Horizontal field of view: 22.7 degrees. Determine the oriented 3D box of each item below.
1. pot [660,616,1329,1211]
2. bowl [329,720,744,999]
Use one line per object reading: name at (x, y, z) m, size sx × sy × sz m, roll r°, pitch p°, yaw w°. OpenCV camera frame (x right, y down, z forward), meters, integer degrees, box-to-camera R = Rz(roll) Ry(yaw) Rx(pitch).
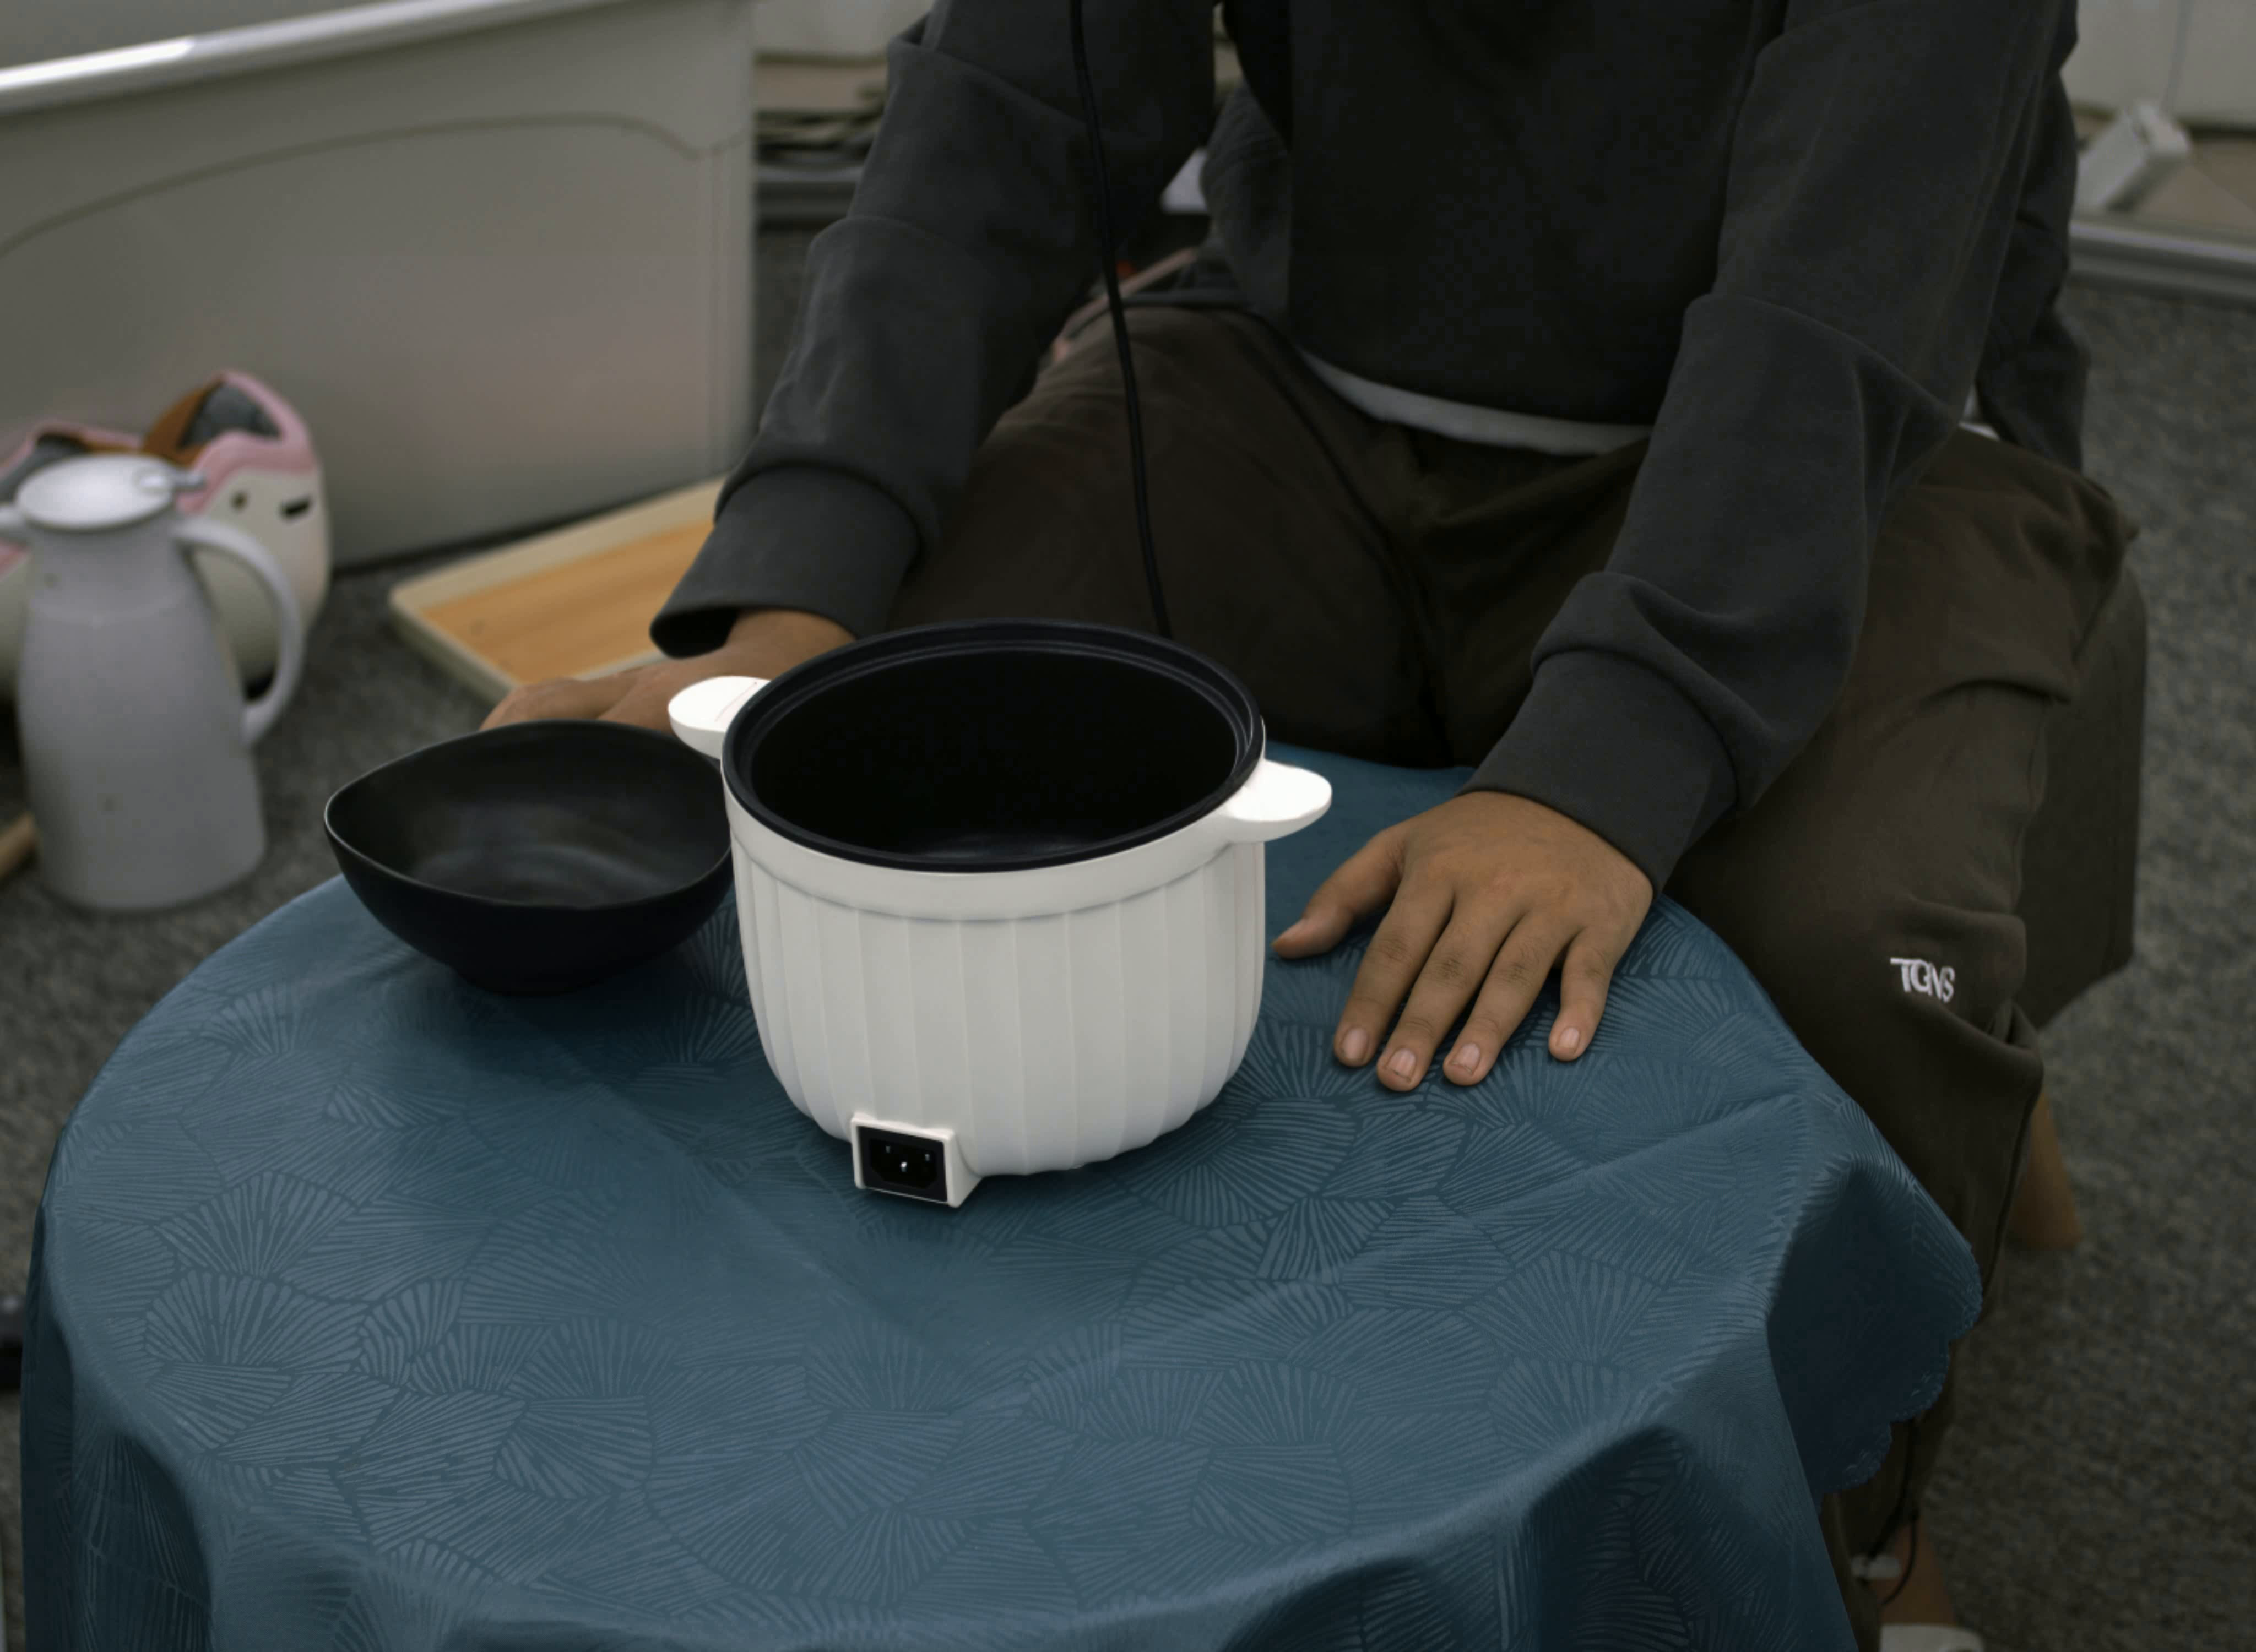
pot at (-0.042, 0.026, 1.905) m, size 0.239 × 0.141 × 0.194 m, roll 10°, pitch 32°, yaw 20°
bowl at (-0.211, 0.020, 2.011) m, size 0.170 × 0.066 × 0.139 m, roll 20°, pitch 34°, yaw 39°
